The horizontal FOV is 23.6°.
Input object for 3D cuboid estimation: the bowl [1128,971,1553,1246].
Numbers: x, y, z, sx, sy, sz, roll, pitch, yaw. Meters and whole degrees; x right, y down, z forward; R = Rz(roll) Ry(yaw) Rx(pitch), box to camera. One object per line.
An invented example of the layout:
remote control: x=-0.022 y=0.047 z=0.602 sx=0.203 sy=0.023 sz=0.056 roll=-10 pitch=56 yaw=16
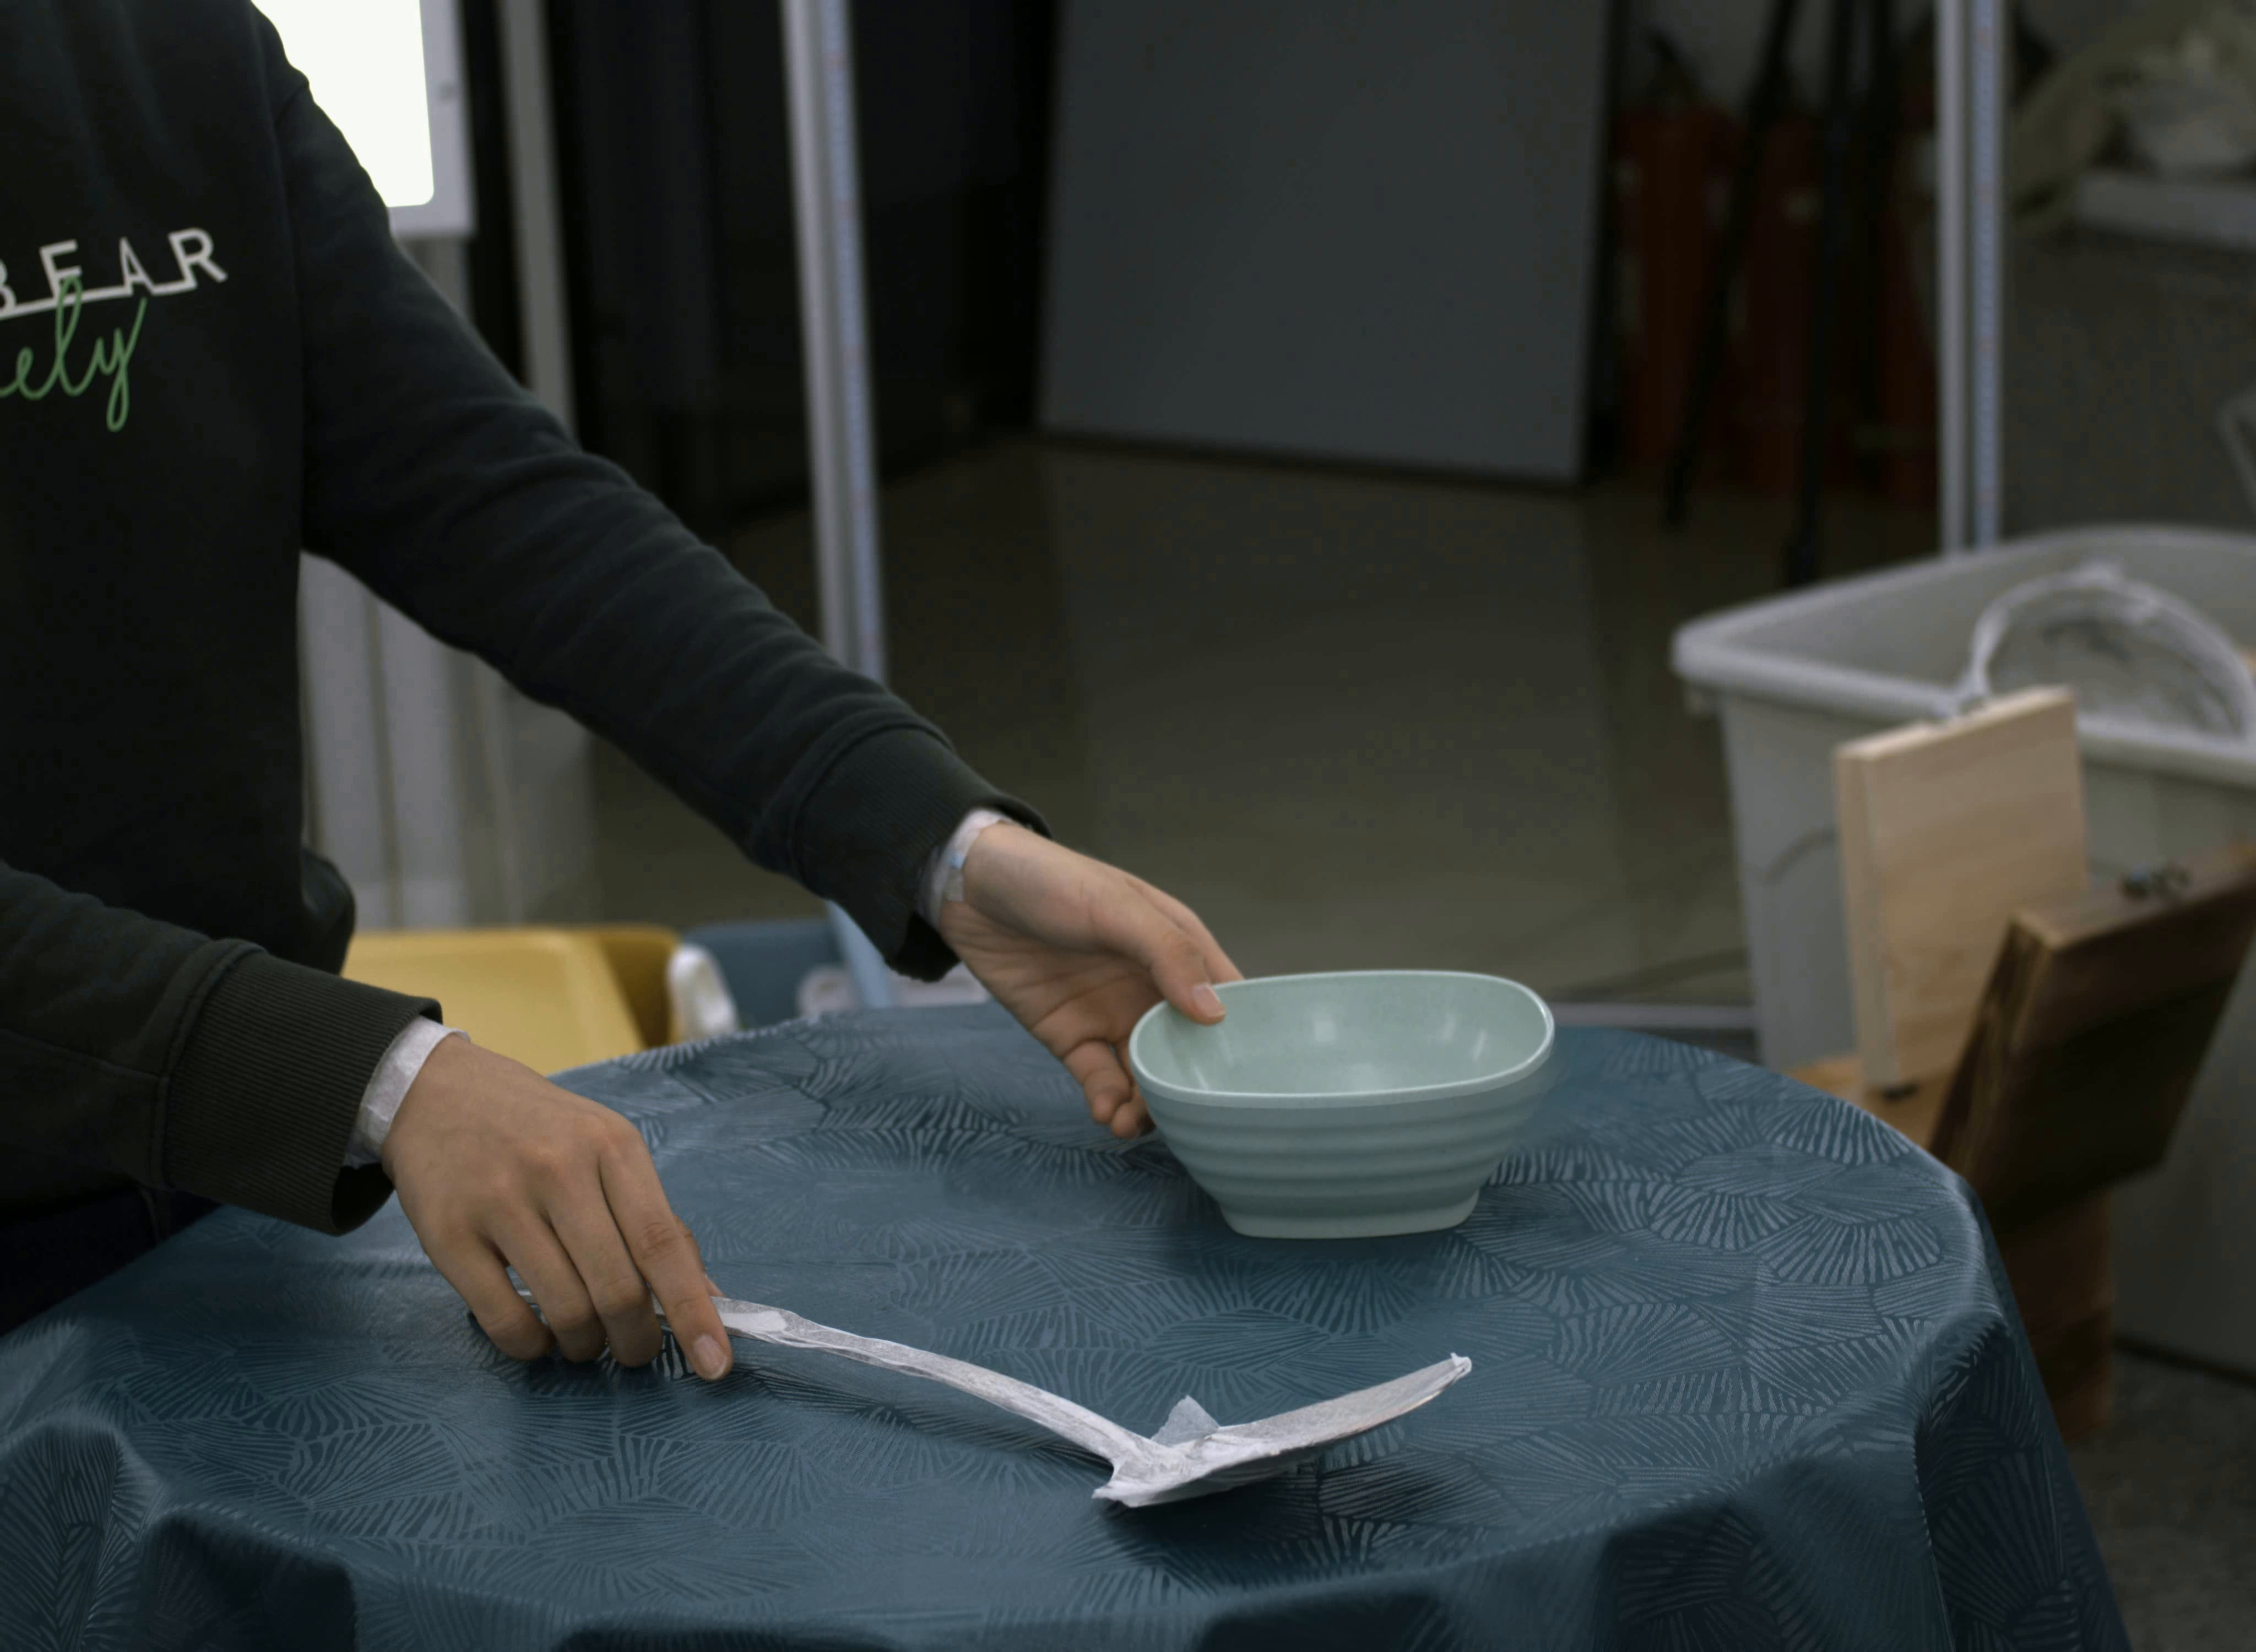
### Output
bowl: x=0.069 y=0.095 z=1.743 sx=0.149 sy=0.059 sz=0.152 roll=-2 pitch=15 yaw=0

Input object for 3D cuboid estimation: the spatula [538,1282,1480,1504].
spatula: x=-0.056 y=0.153 z=1.576 sx=0.368 sy=0.045 sz=0.097 roll=9 pitch=21 yaw=42
